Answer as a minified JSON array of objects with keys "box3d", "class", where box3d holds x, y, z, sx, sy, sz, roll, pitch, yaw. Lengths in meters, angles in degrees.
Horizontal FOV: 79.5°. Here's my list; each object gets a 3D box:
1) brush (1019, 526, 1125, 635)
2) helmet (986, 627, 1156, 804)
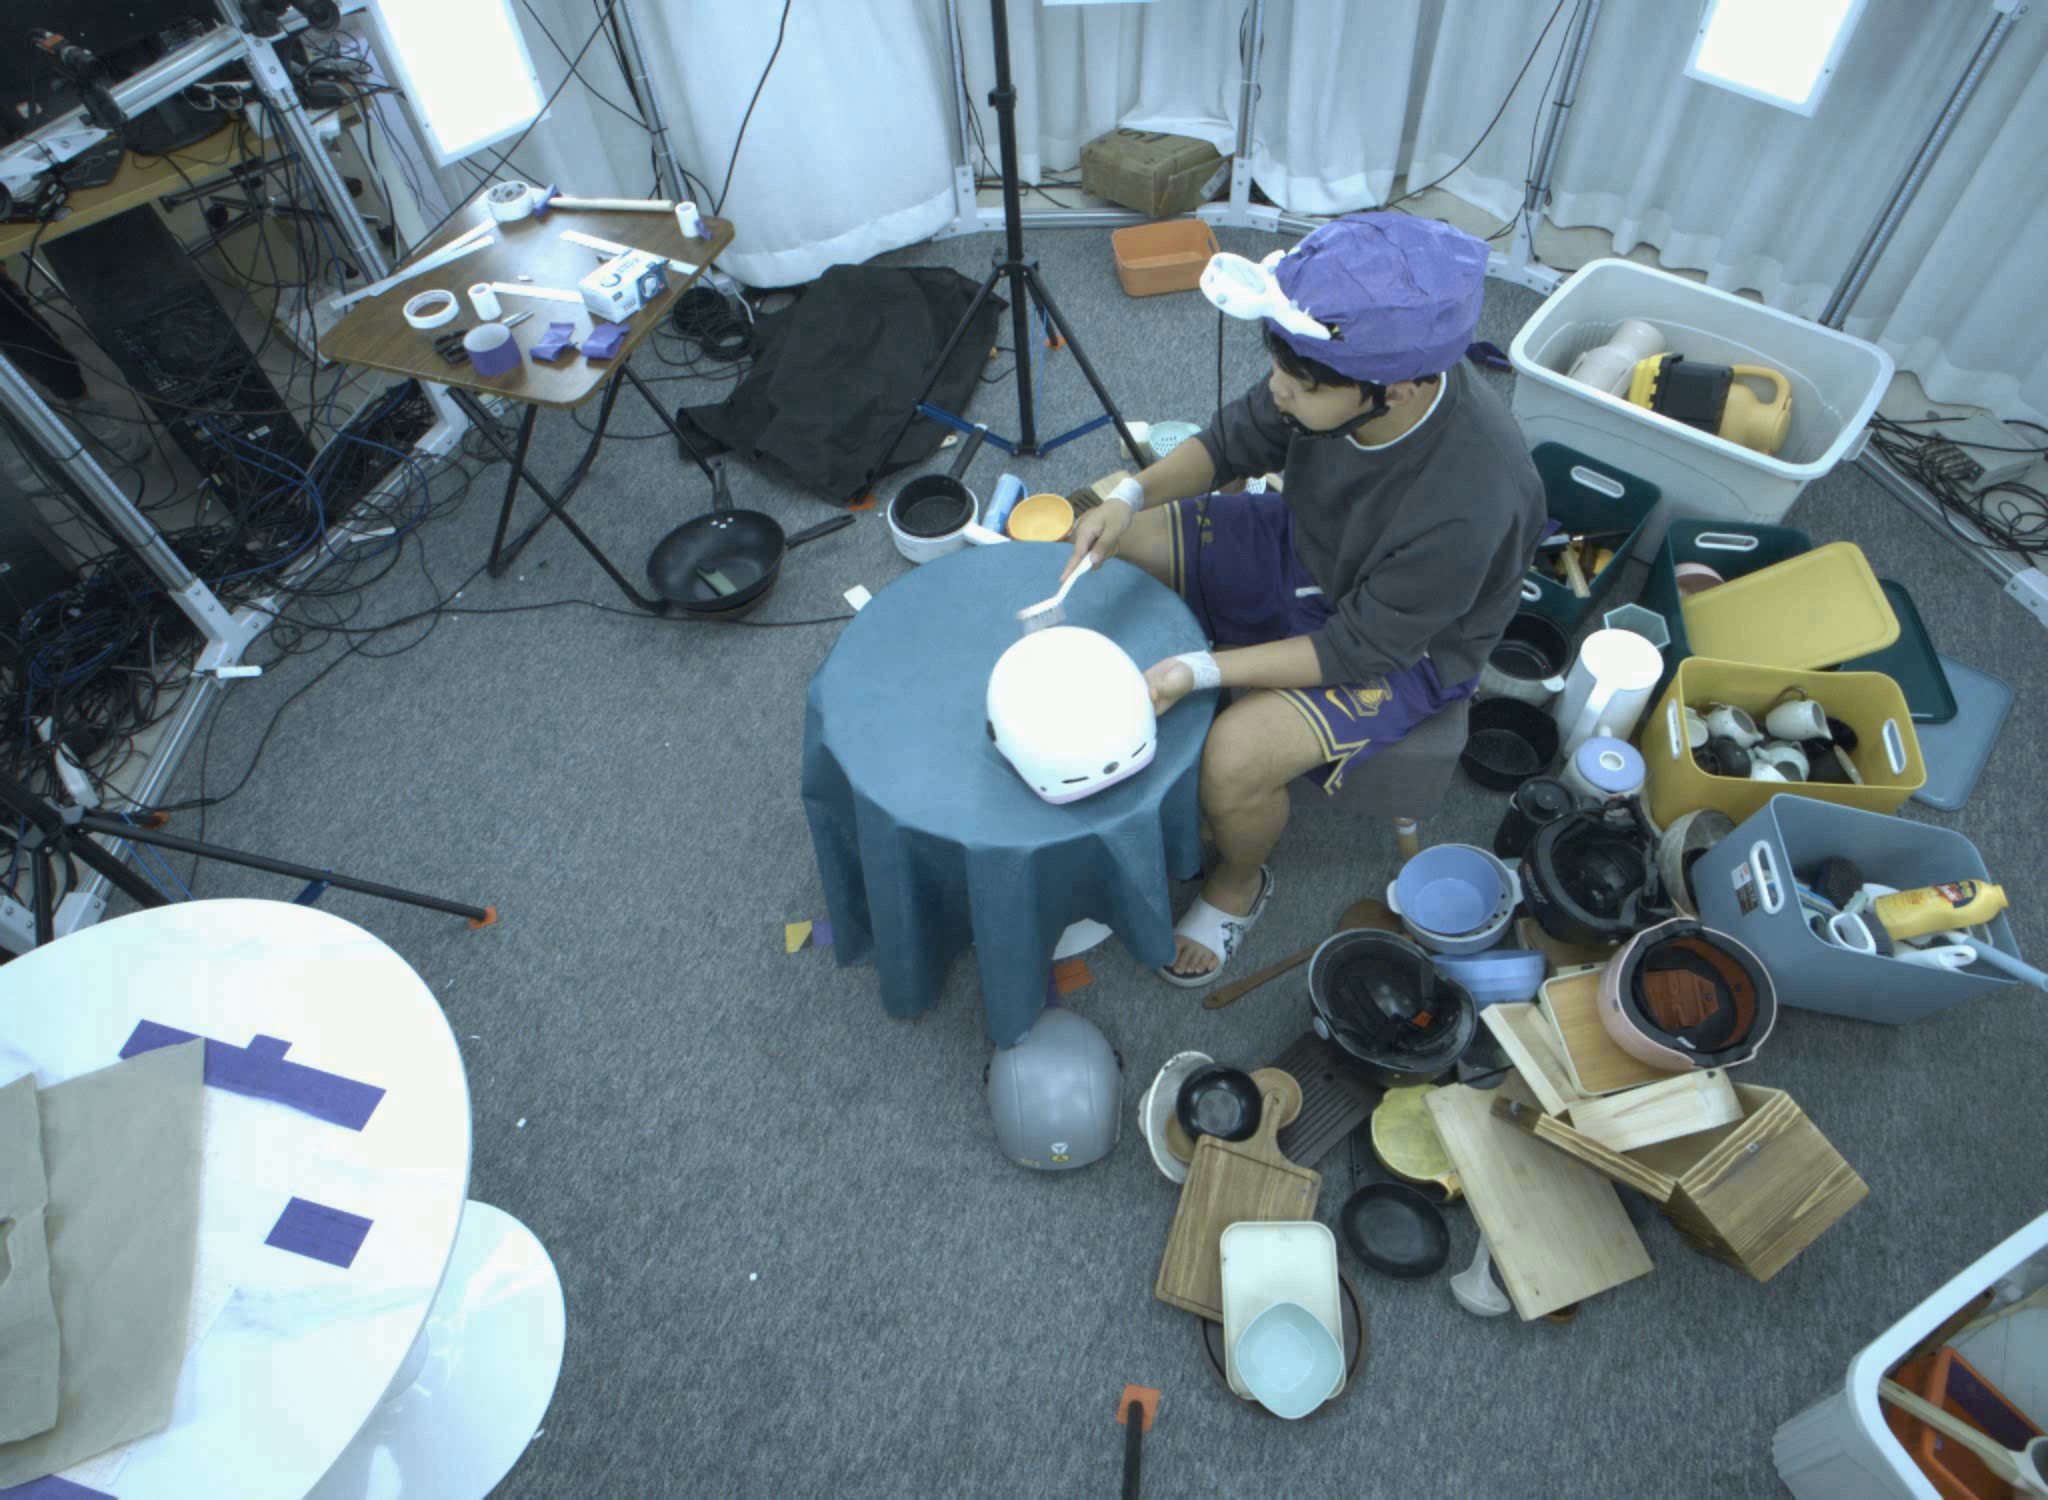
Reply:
[{"box3d":[0.083,-0.252,1.834,0.050,0.034,0.245,48,65,-4],"class":"brush"},{"box3d":[0.058,-0.074,1.733,0.238,0.169,0.264,-24,57,-9],"class":"helmet"}]
